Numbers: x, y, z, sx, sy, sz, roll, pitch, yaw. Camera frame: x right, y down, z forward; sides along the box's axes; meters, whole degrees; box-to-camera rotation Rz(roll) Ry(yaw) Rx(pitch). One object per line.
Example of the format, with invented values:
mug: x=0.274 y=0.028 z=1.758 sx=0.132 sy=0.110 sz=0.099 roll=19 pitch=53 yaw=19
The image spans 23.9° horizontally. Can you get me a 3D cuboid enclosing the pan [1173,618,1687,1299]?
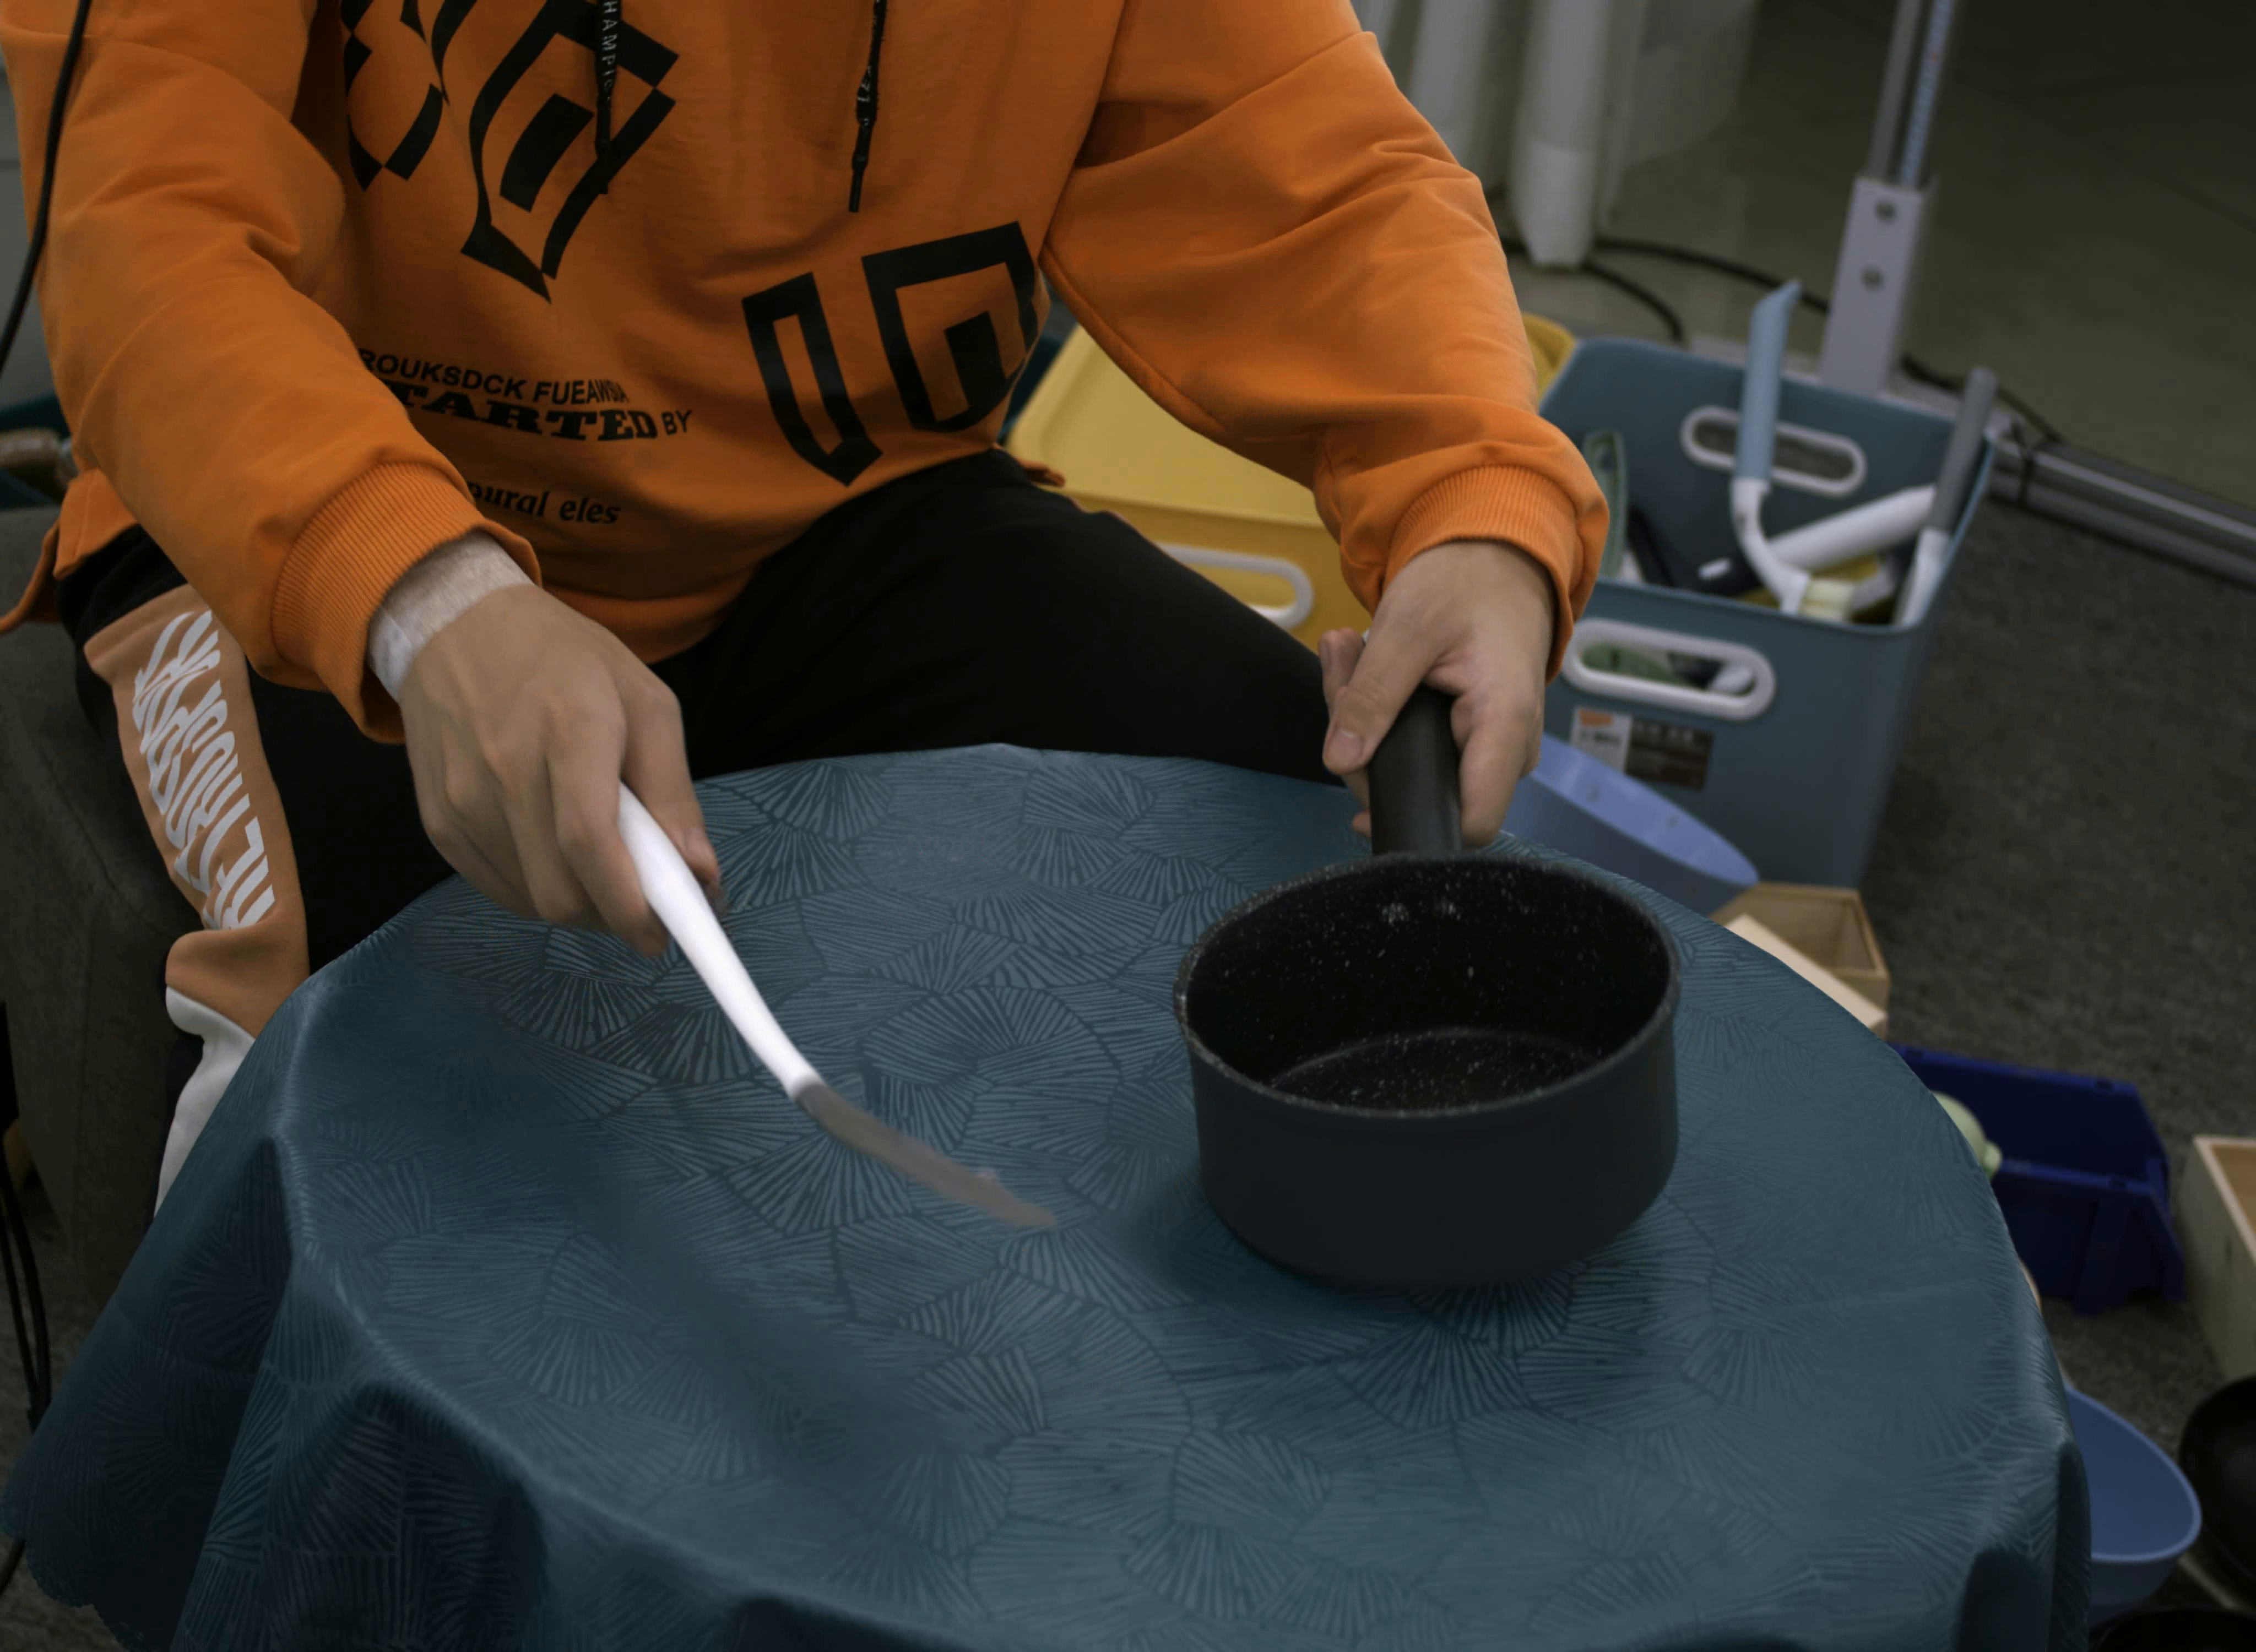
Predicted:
pan: x=0.106 y=0.043 z=1.860 sx=0.171 sy=0.086 sz=0.331 roll=-1 pitch=31 yaw=4

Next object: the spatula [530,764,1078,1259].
spatula: x=-0.112 y=0.064 z=1.716 sx=0.058 sy=0.032 sz=0.290 roll=22 pitch=15 yaw=-45
